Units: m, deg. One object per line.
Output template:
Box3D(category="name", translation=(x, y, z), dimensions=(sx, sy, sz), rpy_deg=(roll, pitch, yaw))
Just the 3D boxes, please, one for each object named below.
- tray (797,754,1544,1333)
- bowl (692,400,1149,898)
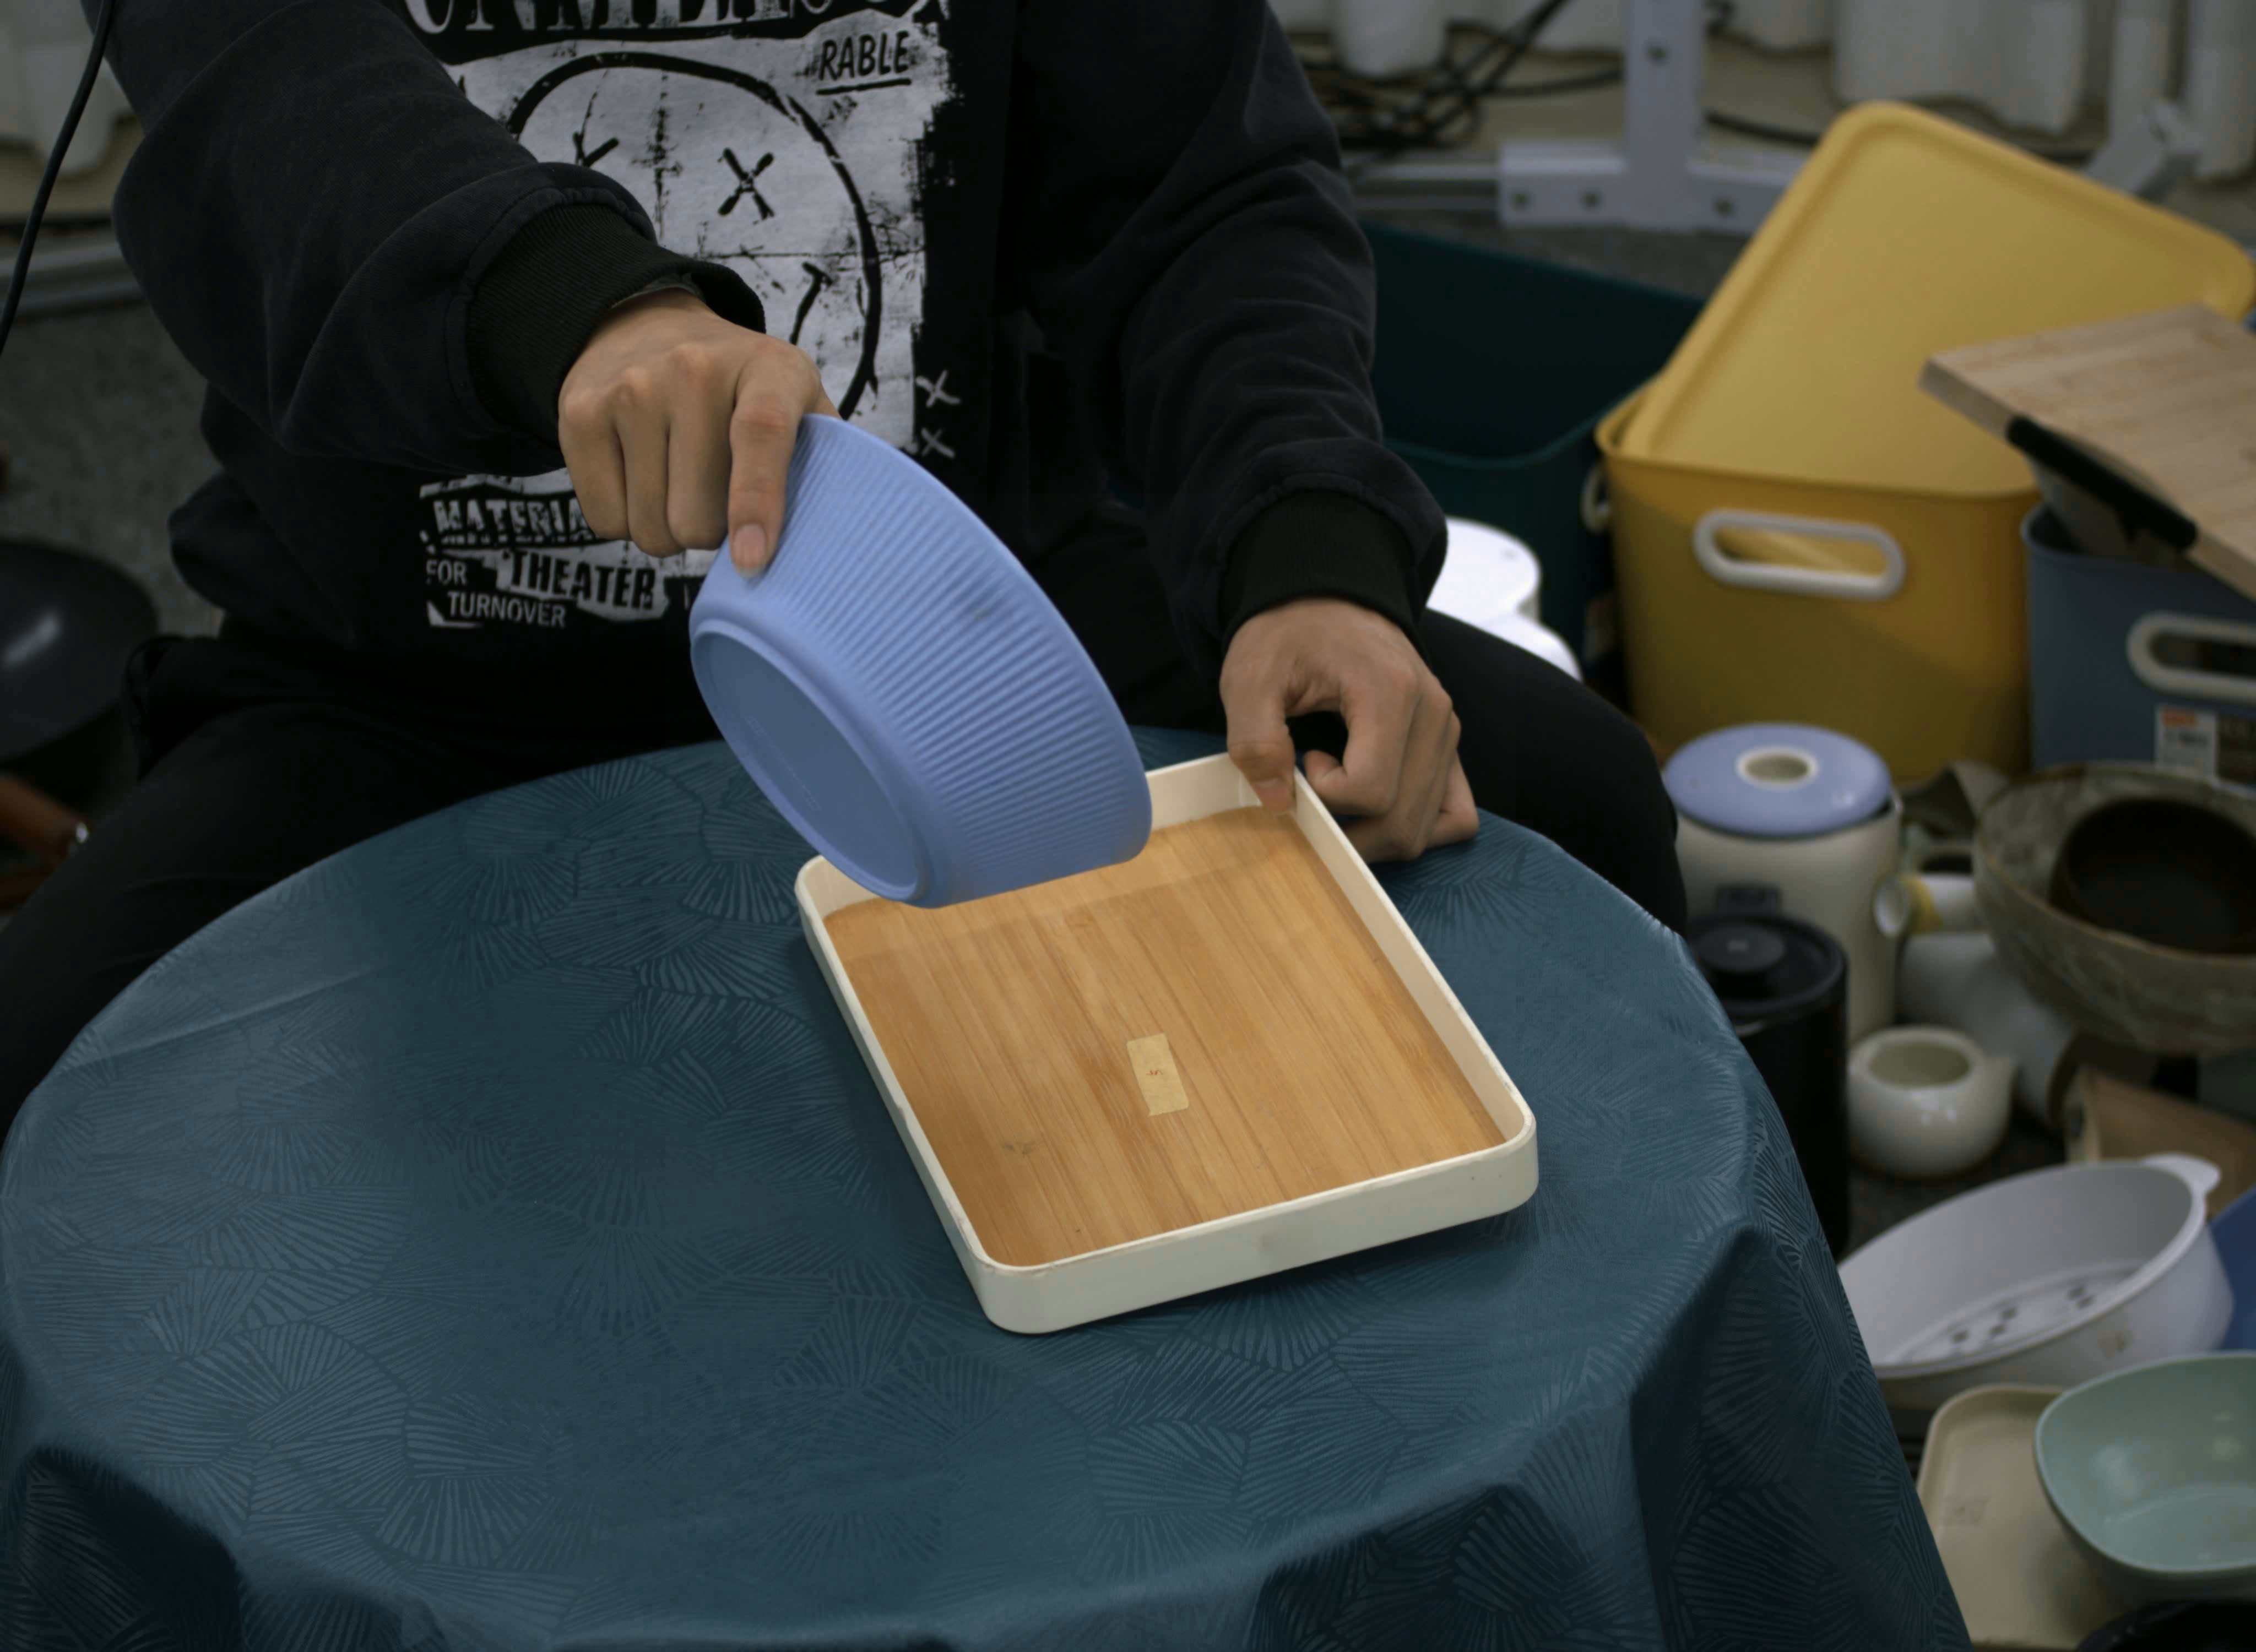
Box3D(category="tray", translation=(0.009, 0.068, 1.921), dimensions=(0.191, 0.027, 0.303), rpy_deg=(-13, 29, -11))
Box3D(category="bowl", translation=(-0.076, -0.043, 1.765), dimensions=(0.071, 0.174, 0.176), rpy_deg=(-38, 40, -20))
